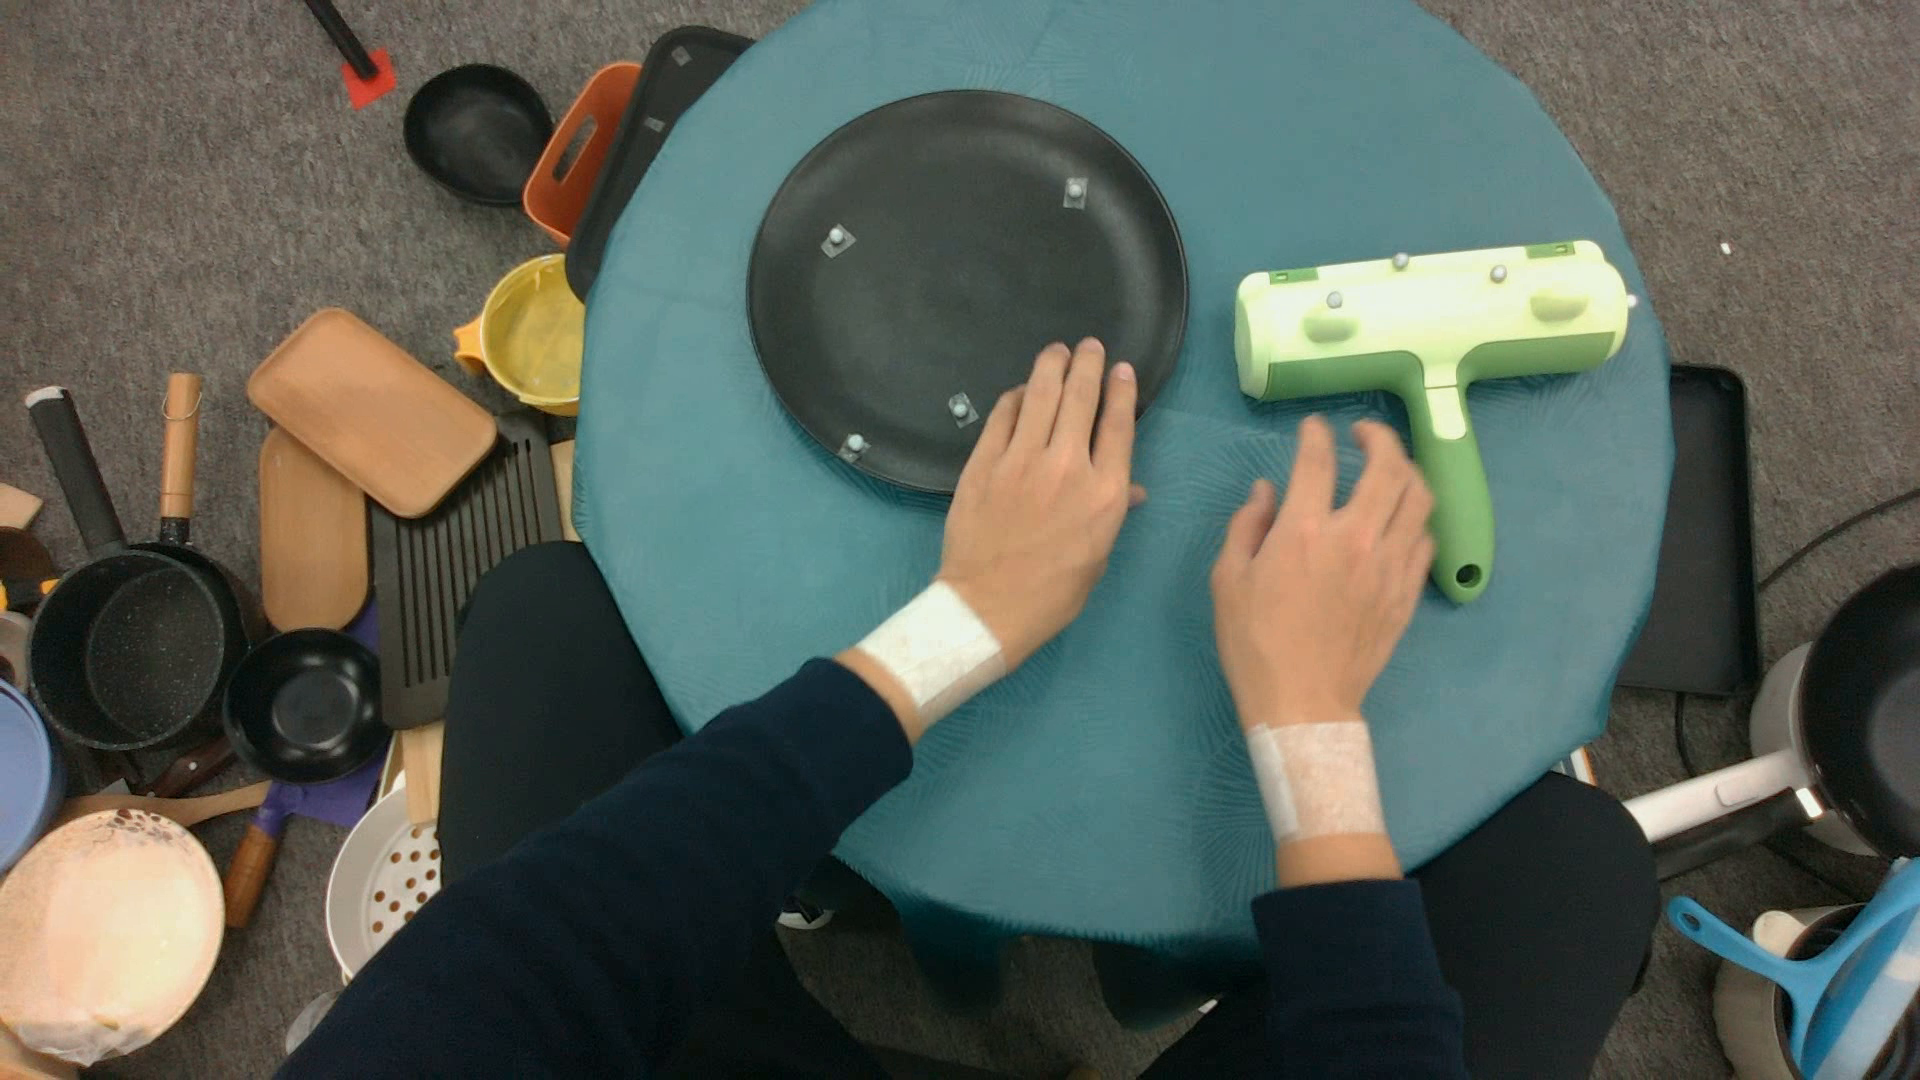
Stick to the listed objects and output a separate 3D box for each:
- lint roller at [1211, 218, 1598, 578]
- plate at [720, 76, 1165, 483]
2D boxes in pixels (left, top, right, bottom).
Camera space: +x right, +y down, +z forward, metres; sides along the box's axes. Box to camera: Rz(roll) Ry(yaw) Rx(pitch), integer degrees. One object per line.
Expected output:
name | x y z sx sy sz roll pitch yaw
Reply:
lint roller | 0.242 -0.077 0.709 0.198 0.082 0.184 -7 68 -1
plate | -0.010 -0.144 0.761 0.244 0.023 0.245 0 74 0
